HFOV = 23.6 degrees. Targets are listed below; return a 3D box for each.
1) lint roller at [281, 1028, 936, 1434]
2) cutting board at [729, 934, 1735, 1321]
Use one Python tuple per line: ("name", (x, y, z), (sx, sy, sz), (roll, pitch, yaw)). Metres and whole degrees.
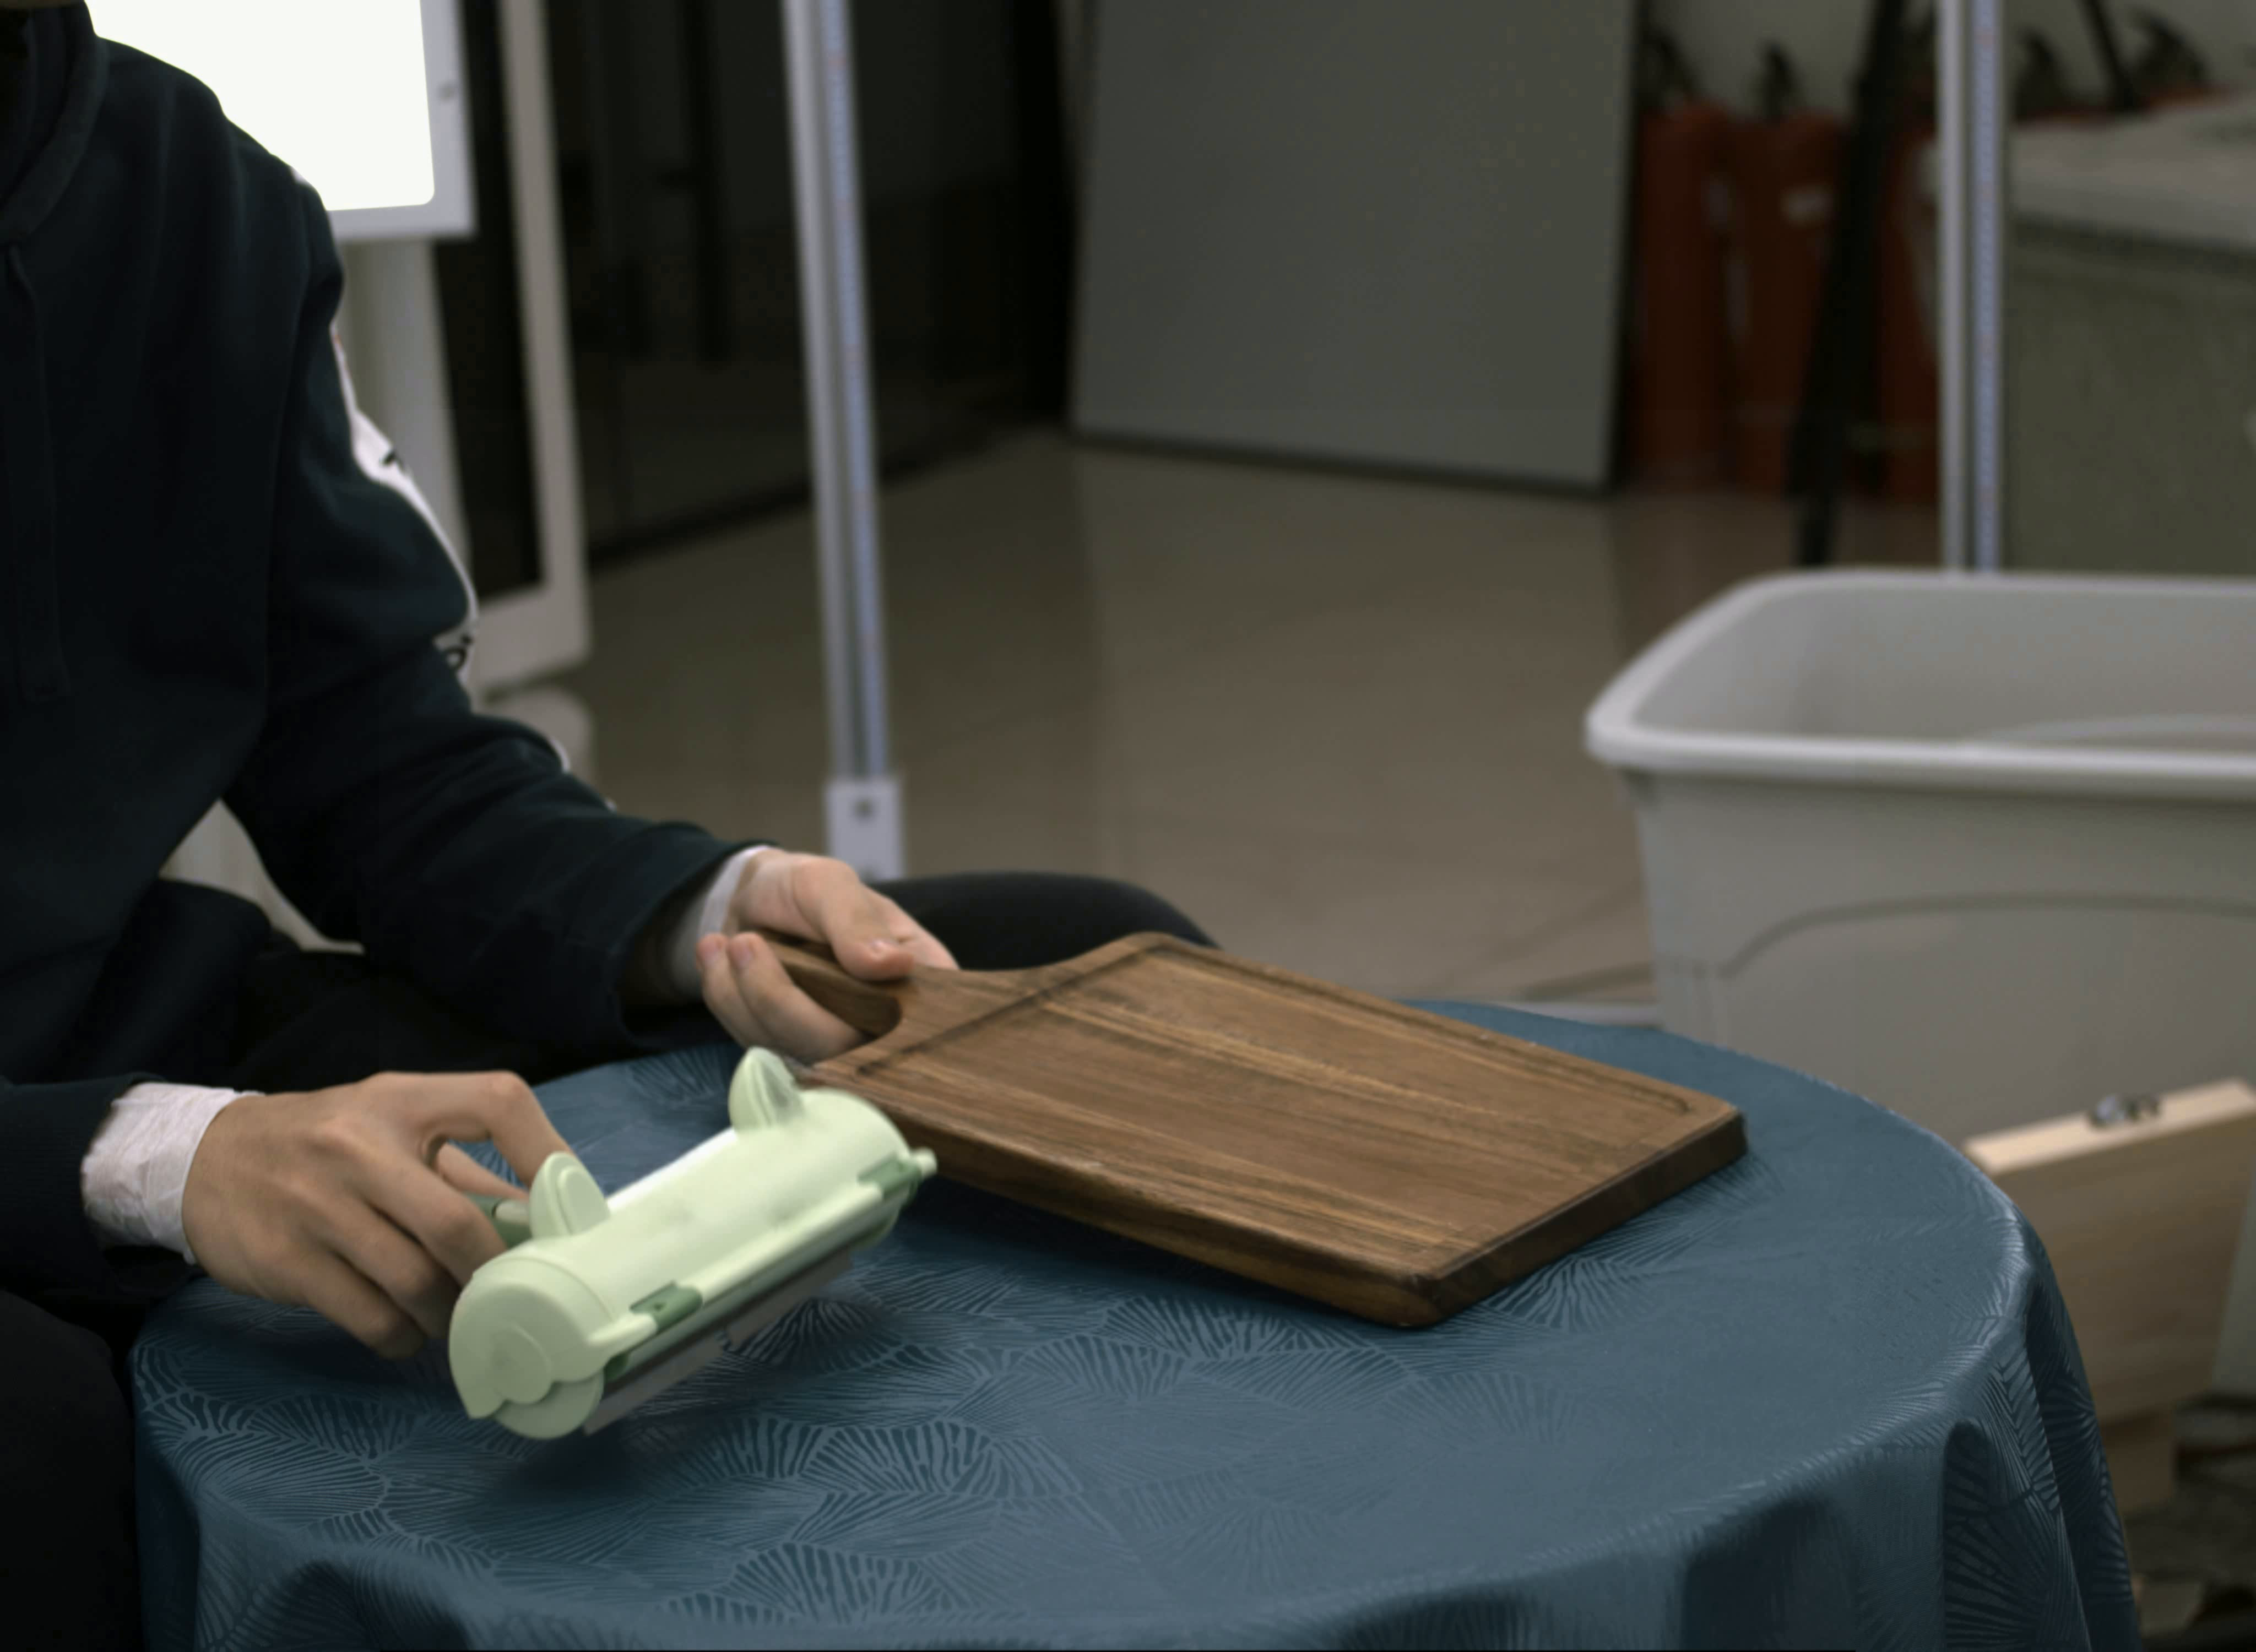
("lint roller", (-0.178, 0.110, 1.626), (0.184, 0.083, 0.196), (8, 18, 26))
("cutting board", (0.007, 0.085, 1.787), (0.354, 0.023, 0.197), (14, 21, 35))
